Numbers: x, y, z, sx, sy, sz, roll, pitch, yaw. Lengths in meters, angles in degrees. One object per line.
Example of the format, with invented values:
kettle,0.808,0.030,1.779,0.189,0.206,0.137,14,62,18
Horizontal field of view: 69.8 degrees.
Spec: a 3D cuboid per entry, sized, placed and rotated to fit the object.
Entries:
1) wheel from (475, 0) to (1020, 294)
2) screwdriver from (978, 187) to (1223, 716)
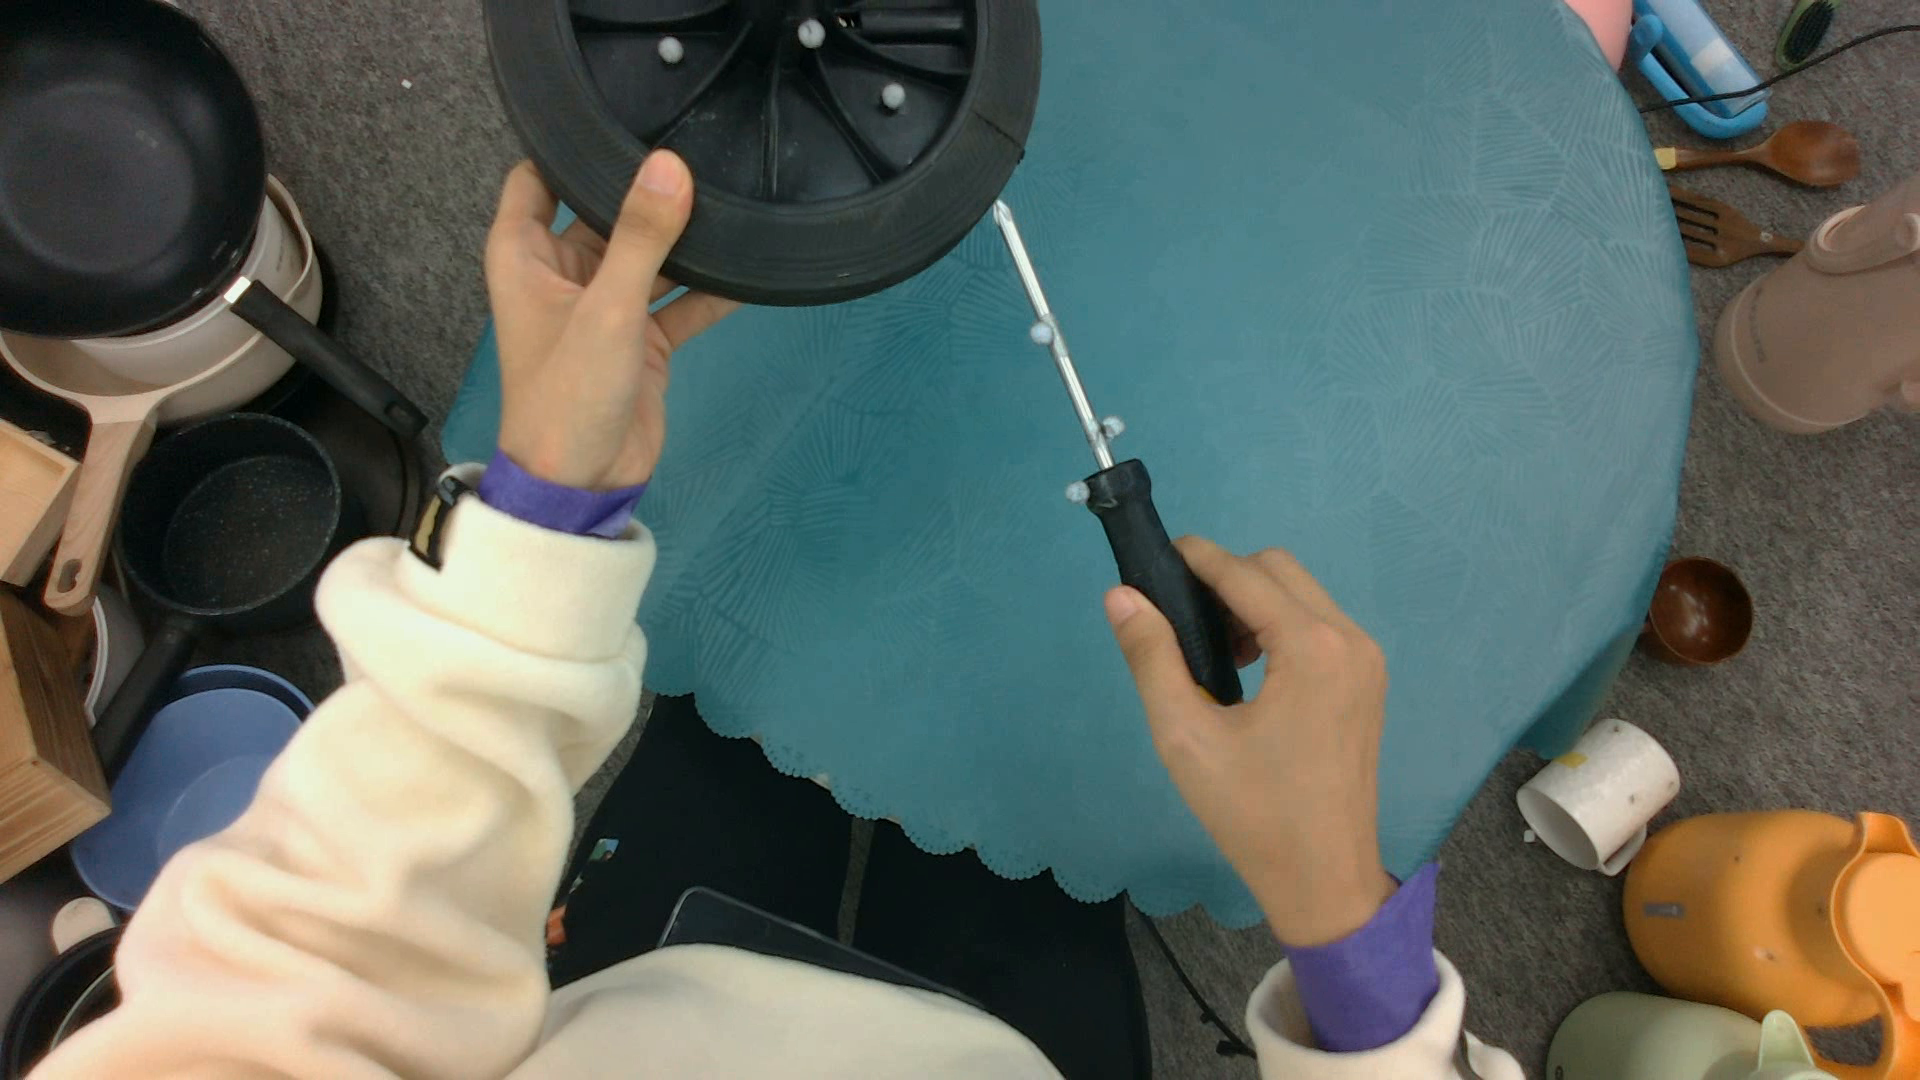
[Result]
wheel,-0.061,-0.181,0.458,0.190,0.079,0.187,-32,93,-20
screwdriver,0.043,-0.031,0.471,0.031,0.031,0.196,-24,91,-10
